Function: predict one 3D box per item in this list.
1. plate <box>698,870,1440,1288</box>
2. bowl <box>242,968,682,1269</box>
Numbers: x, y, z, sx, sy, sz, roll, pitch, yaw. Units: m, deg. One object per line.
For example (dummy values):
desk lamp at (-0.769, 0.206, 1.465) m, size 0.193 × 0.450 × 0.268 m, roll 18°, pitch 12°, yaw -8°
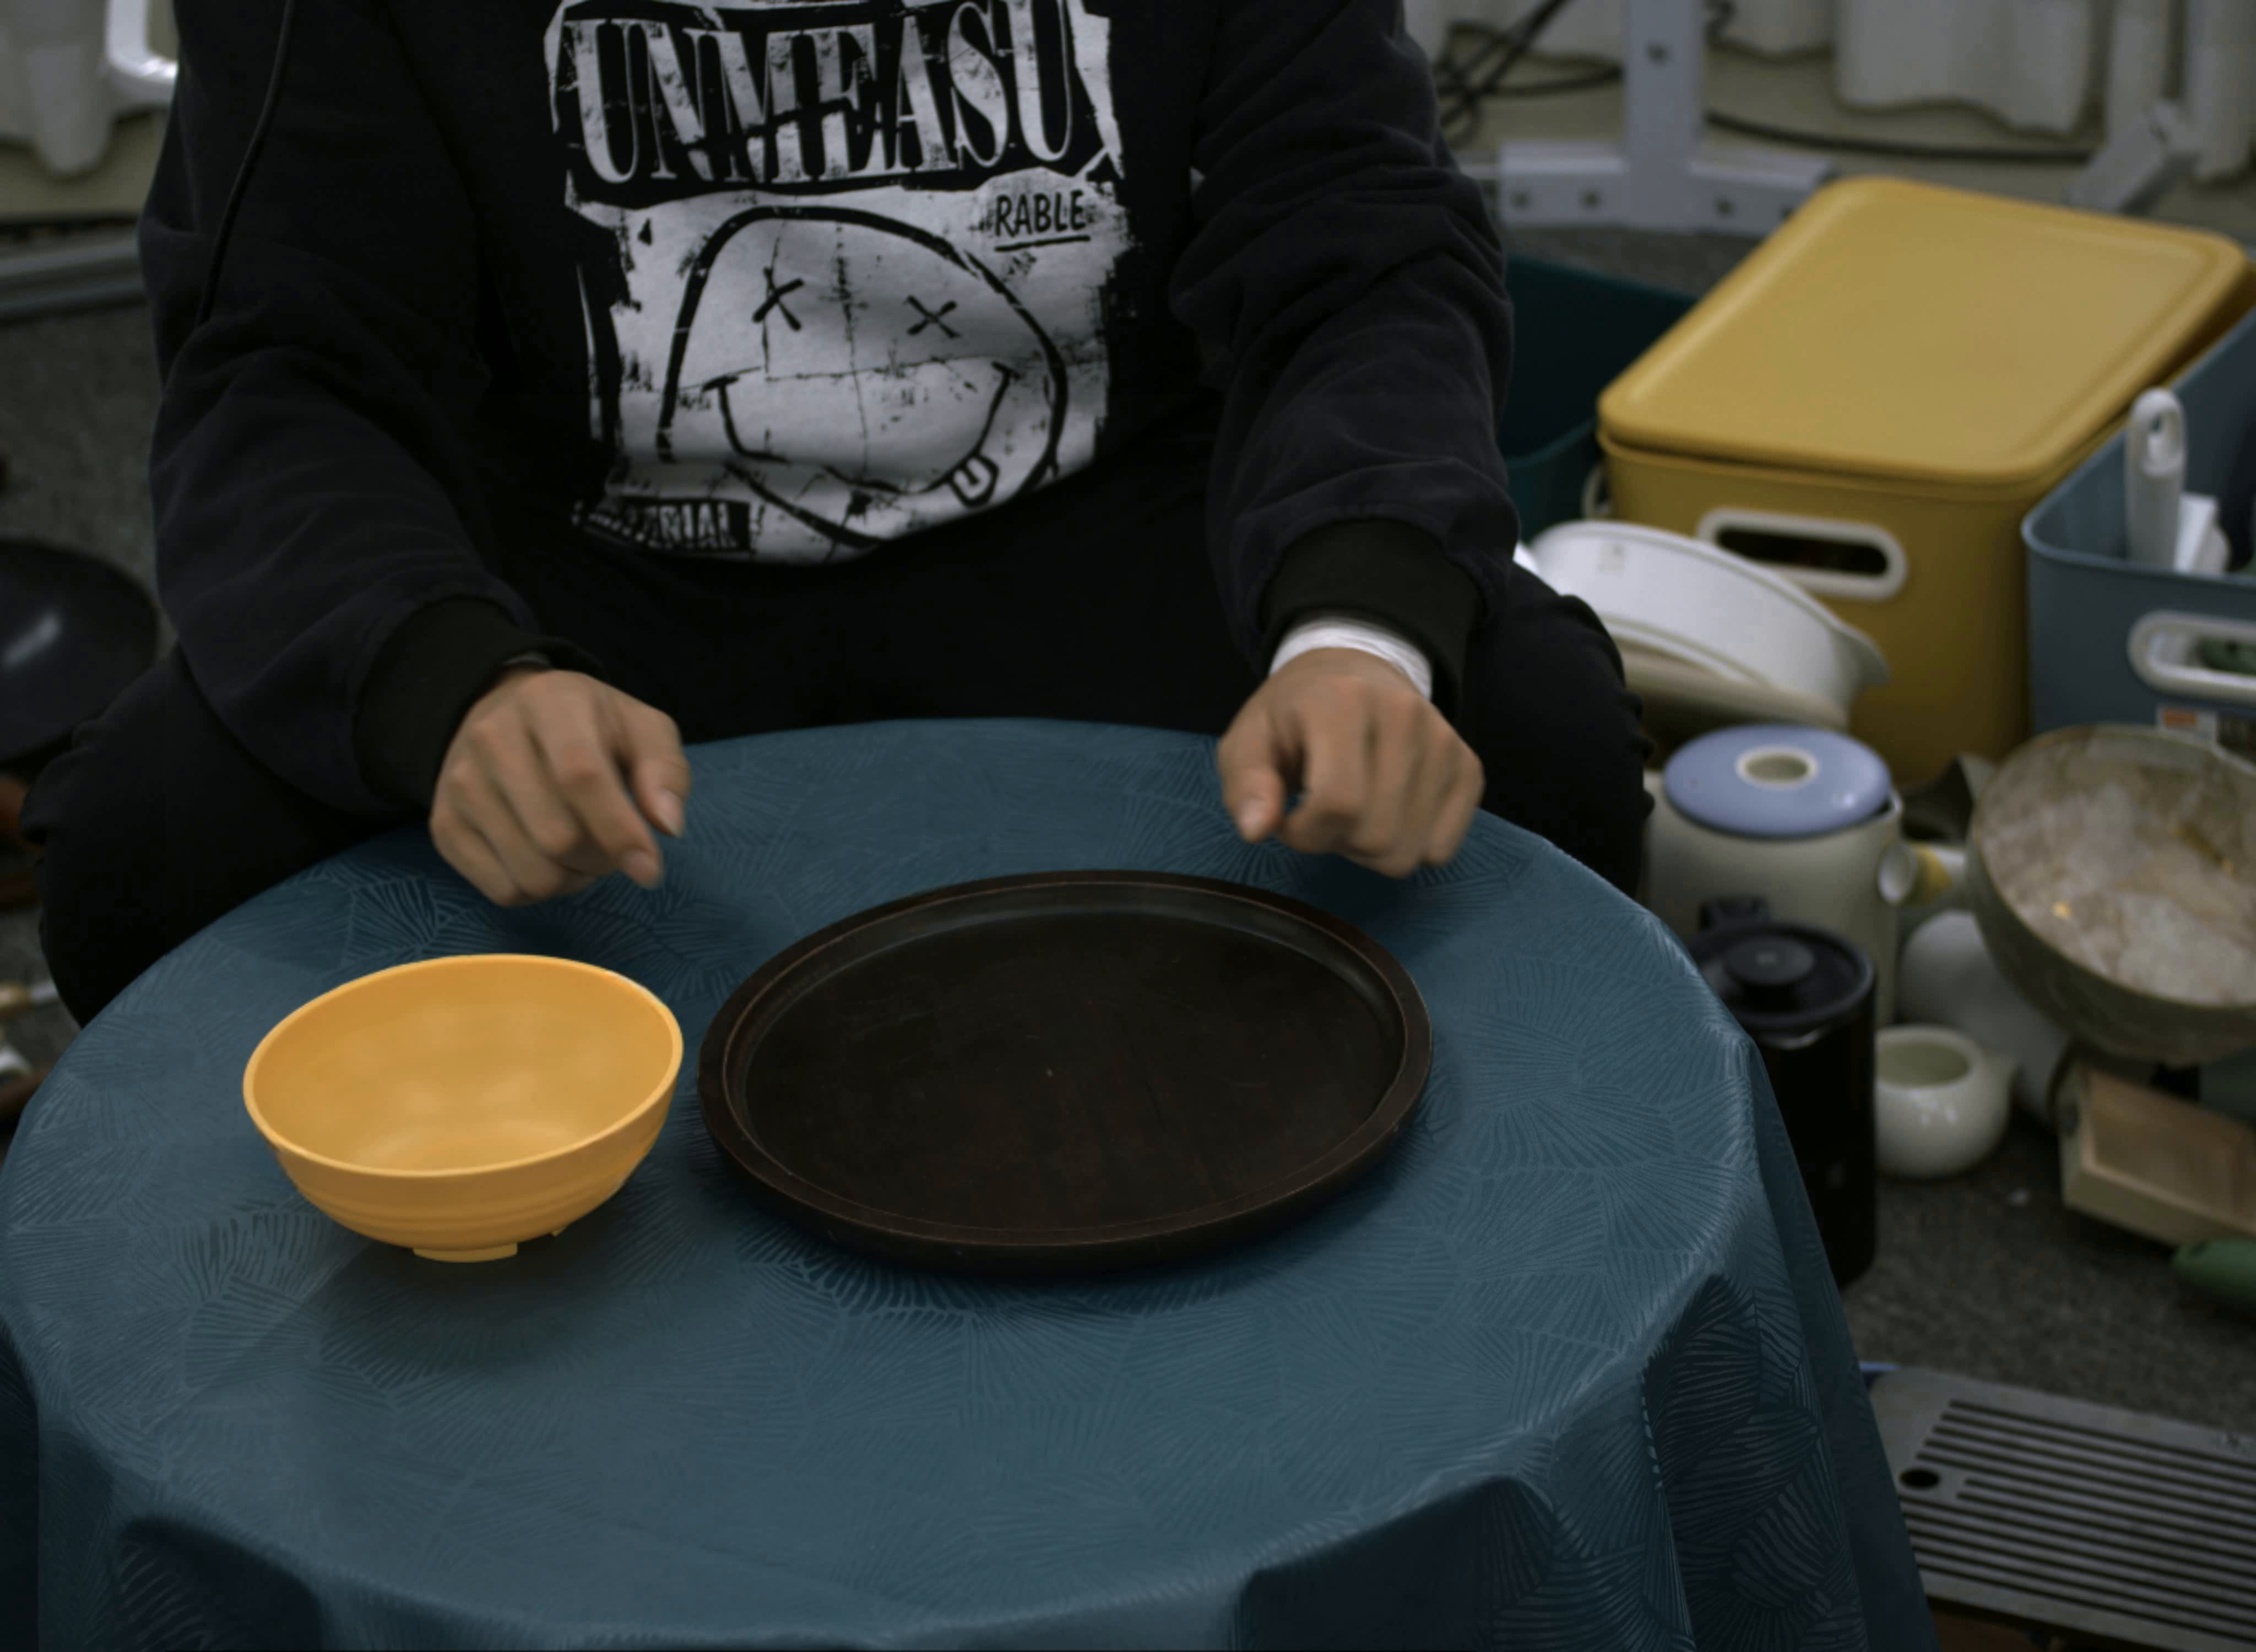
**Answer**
plate at (-0.020, 0.084, 1.912) m, size 0.253 × 0.029 × 0.258 m, roll -4°, pitch 27°, yaw 2°
bowl at (-0.218, 0.105, 1.855) m, size 0.144 × 0.059 × 0.147 m, roll -1°, pitch 25°, yaw 1°
